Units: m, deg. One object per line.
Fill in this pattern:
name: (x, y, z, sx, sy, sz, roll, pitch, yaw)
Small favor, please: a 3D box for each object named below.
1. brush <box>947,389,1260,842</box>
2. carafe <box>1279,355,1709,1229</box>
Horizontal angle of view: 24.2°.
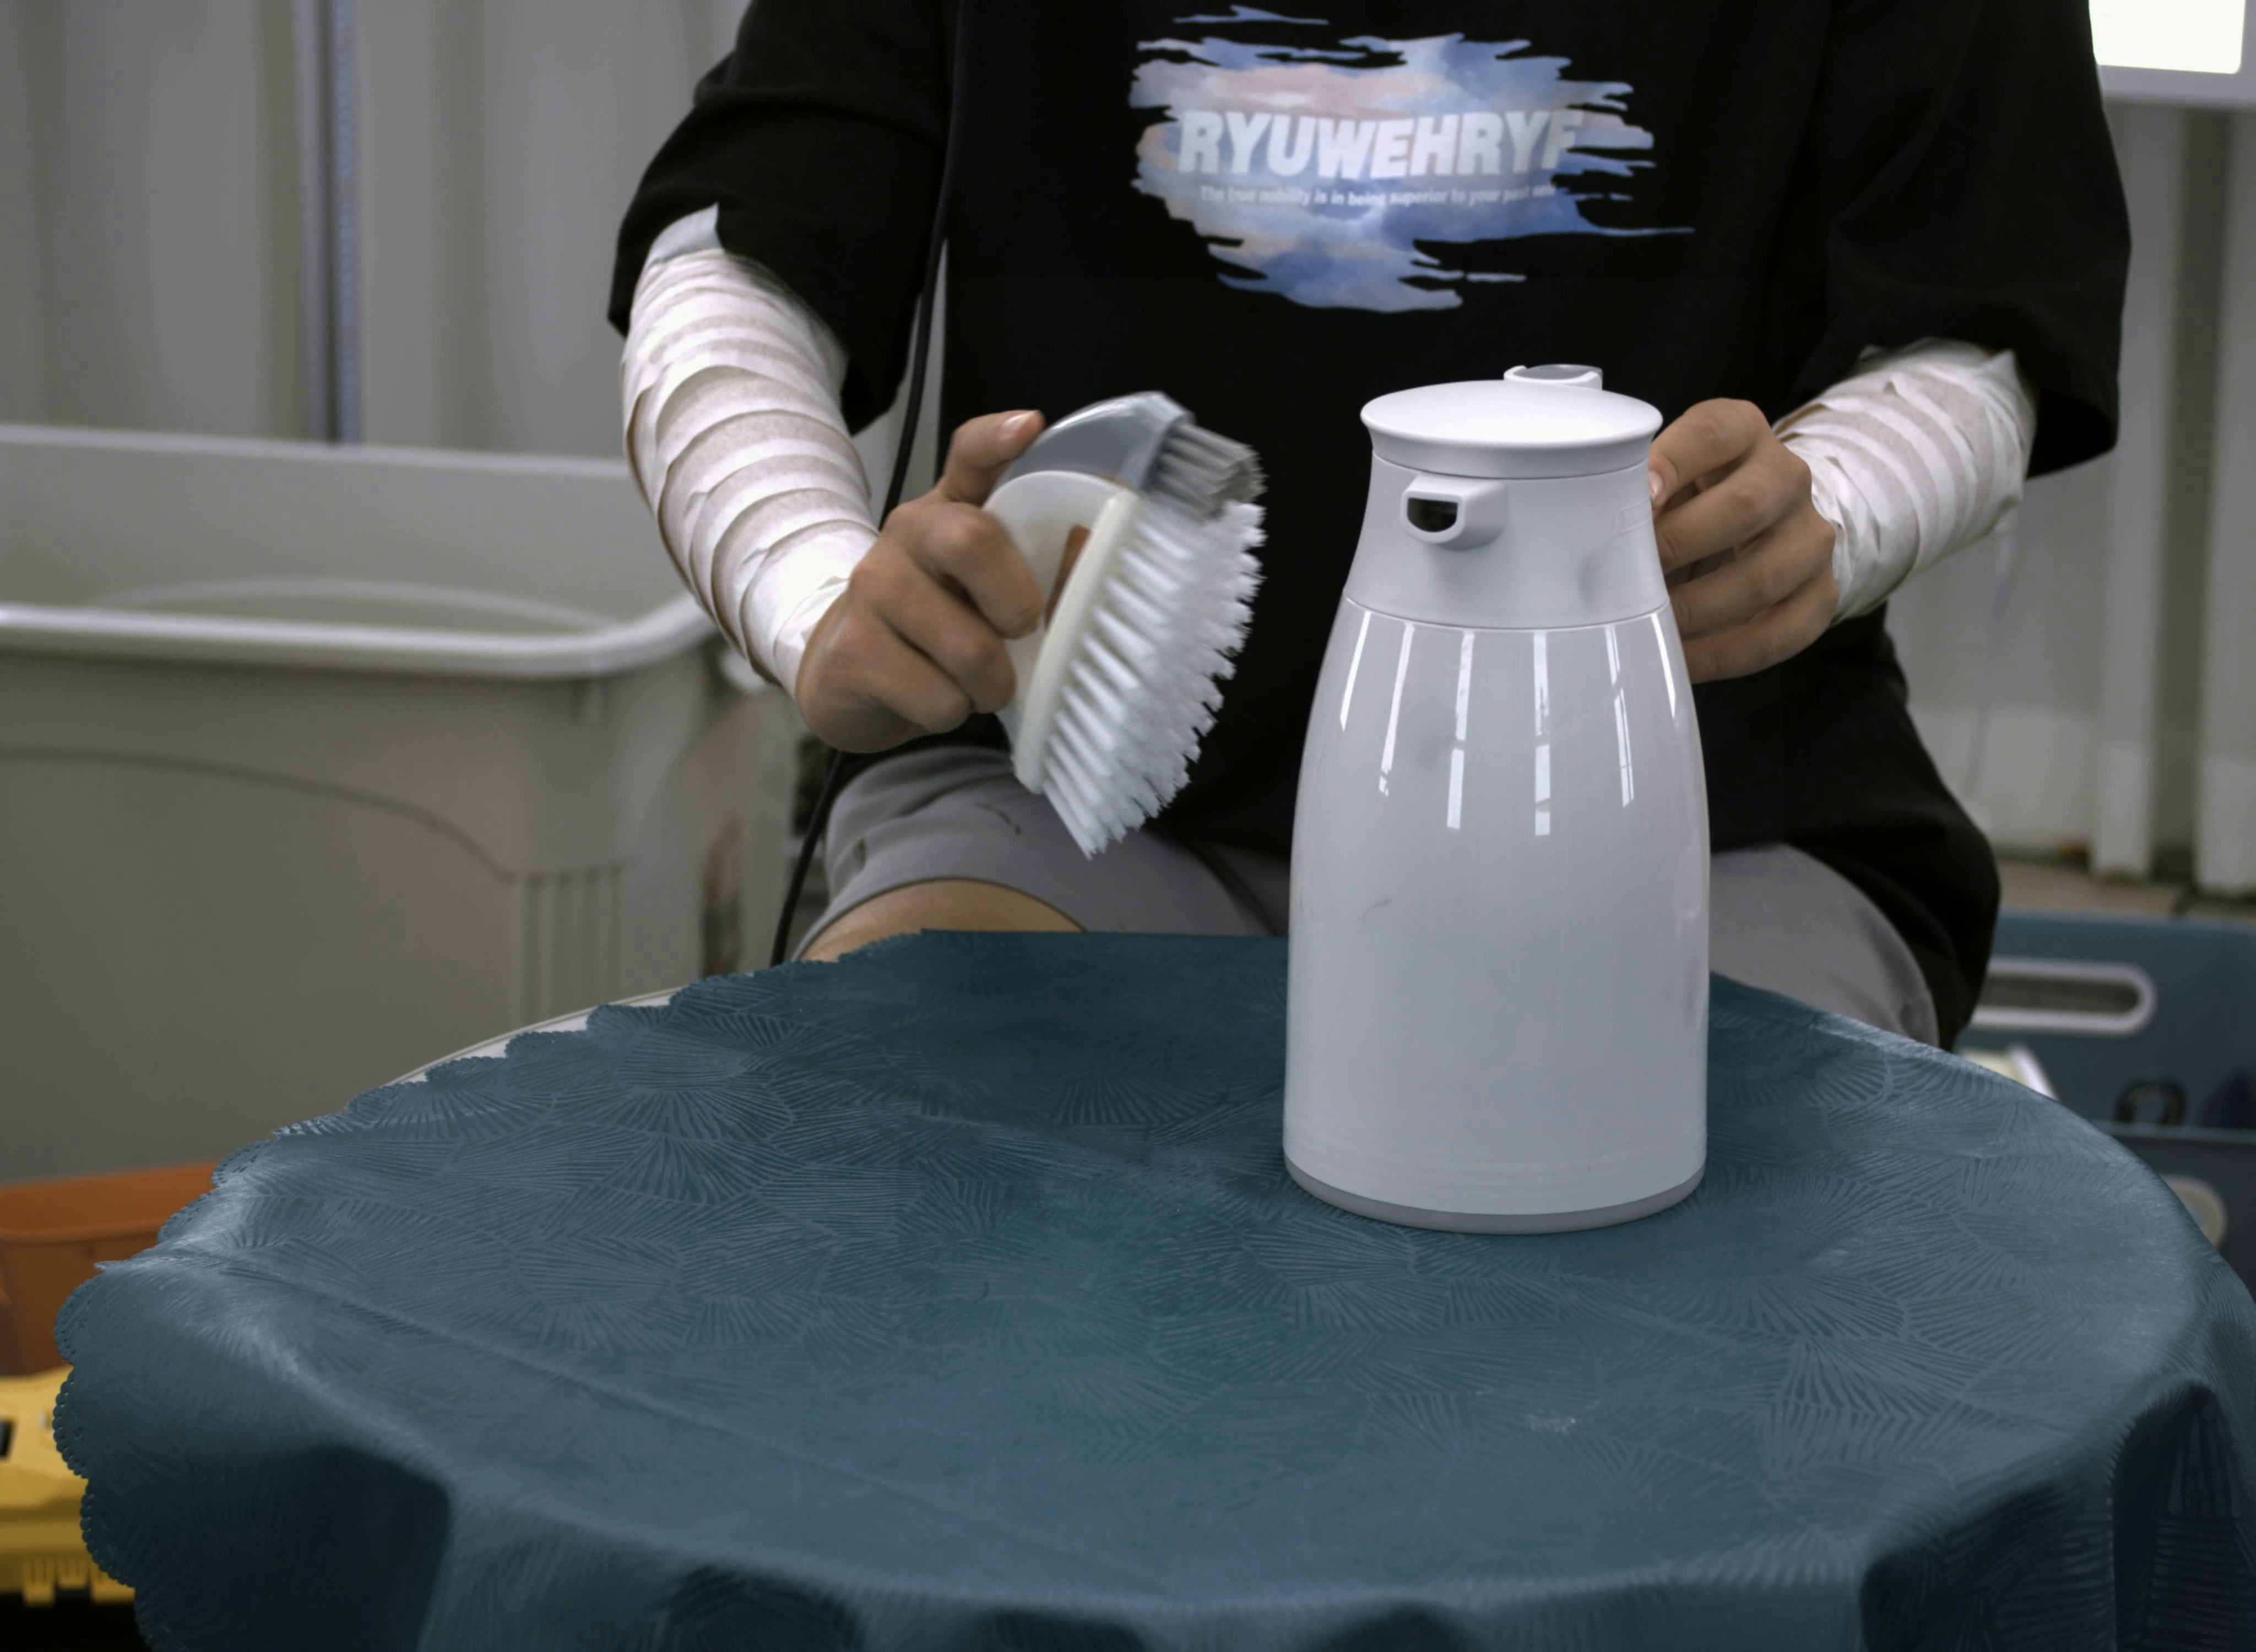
brush: (-0.011, -0.082, 1.661, 0.093, 0.177, 0.061, 39, 54, 16)
carafe: (0.121, -0.019, 1.634, 0.131, 0.250, 0.168, 7, 17, 23)
